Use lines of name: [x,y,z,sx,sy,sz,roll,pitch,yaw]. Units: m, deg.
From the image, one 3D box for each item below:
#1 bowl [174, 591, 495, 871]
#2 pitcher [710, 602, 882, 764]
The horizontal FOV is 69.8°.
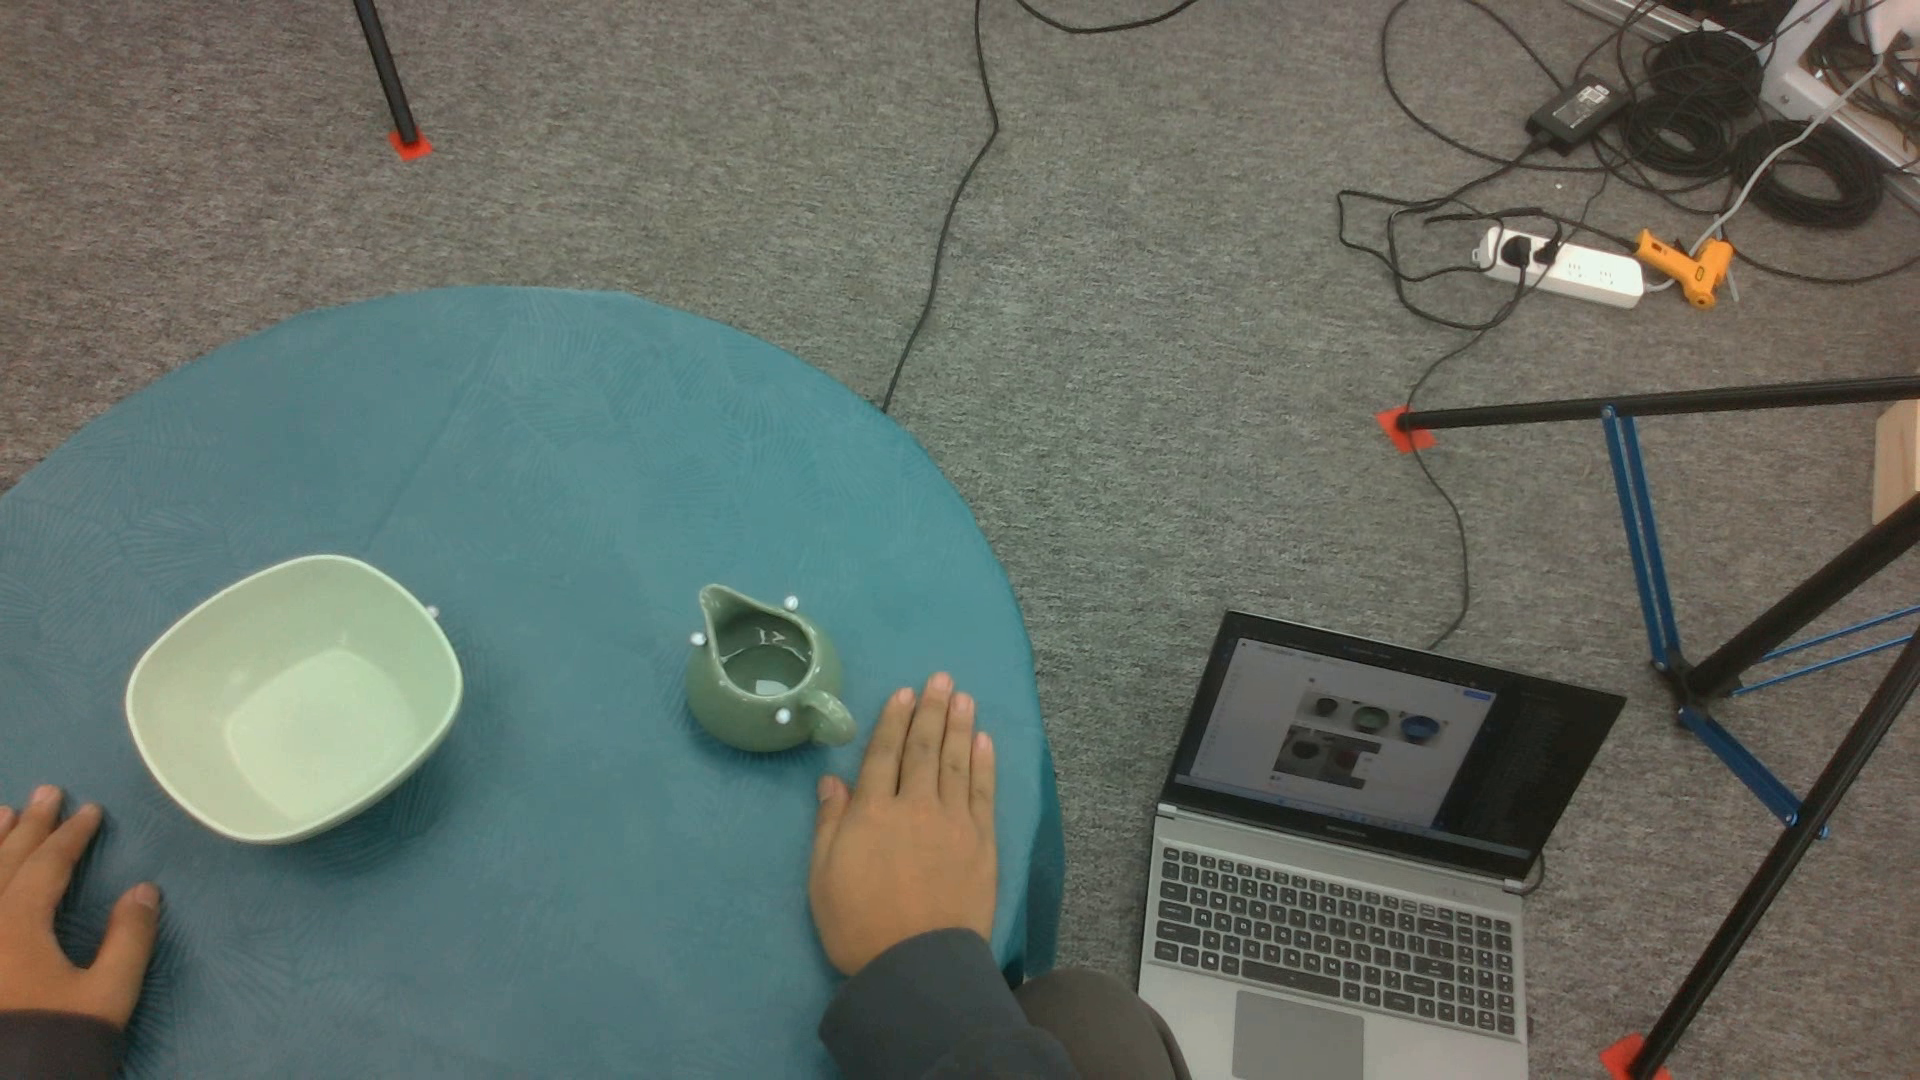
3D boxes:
bowl: [-0.311,0.105,0.705,0.151,0.058,0.152,3,56,-4]
pitcher: [-0.089,0.082,0.748,0.112,0.056,0.084,37,61,15]
